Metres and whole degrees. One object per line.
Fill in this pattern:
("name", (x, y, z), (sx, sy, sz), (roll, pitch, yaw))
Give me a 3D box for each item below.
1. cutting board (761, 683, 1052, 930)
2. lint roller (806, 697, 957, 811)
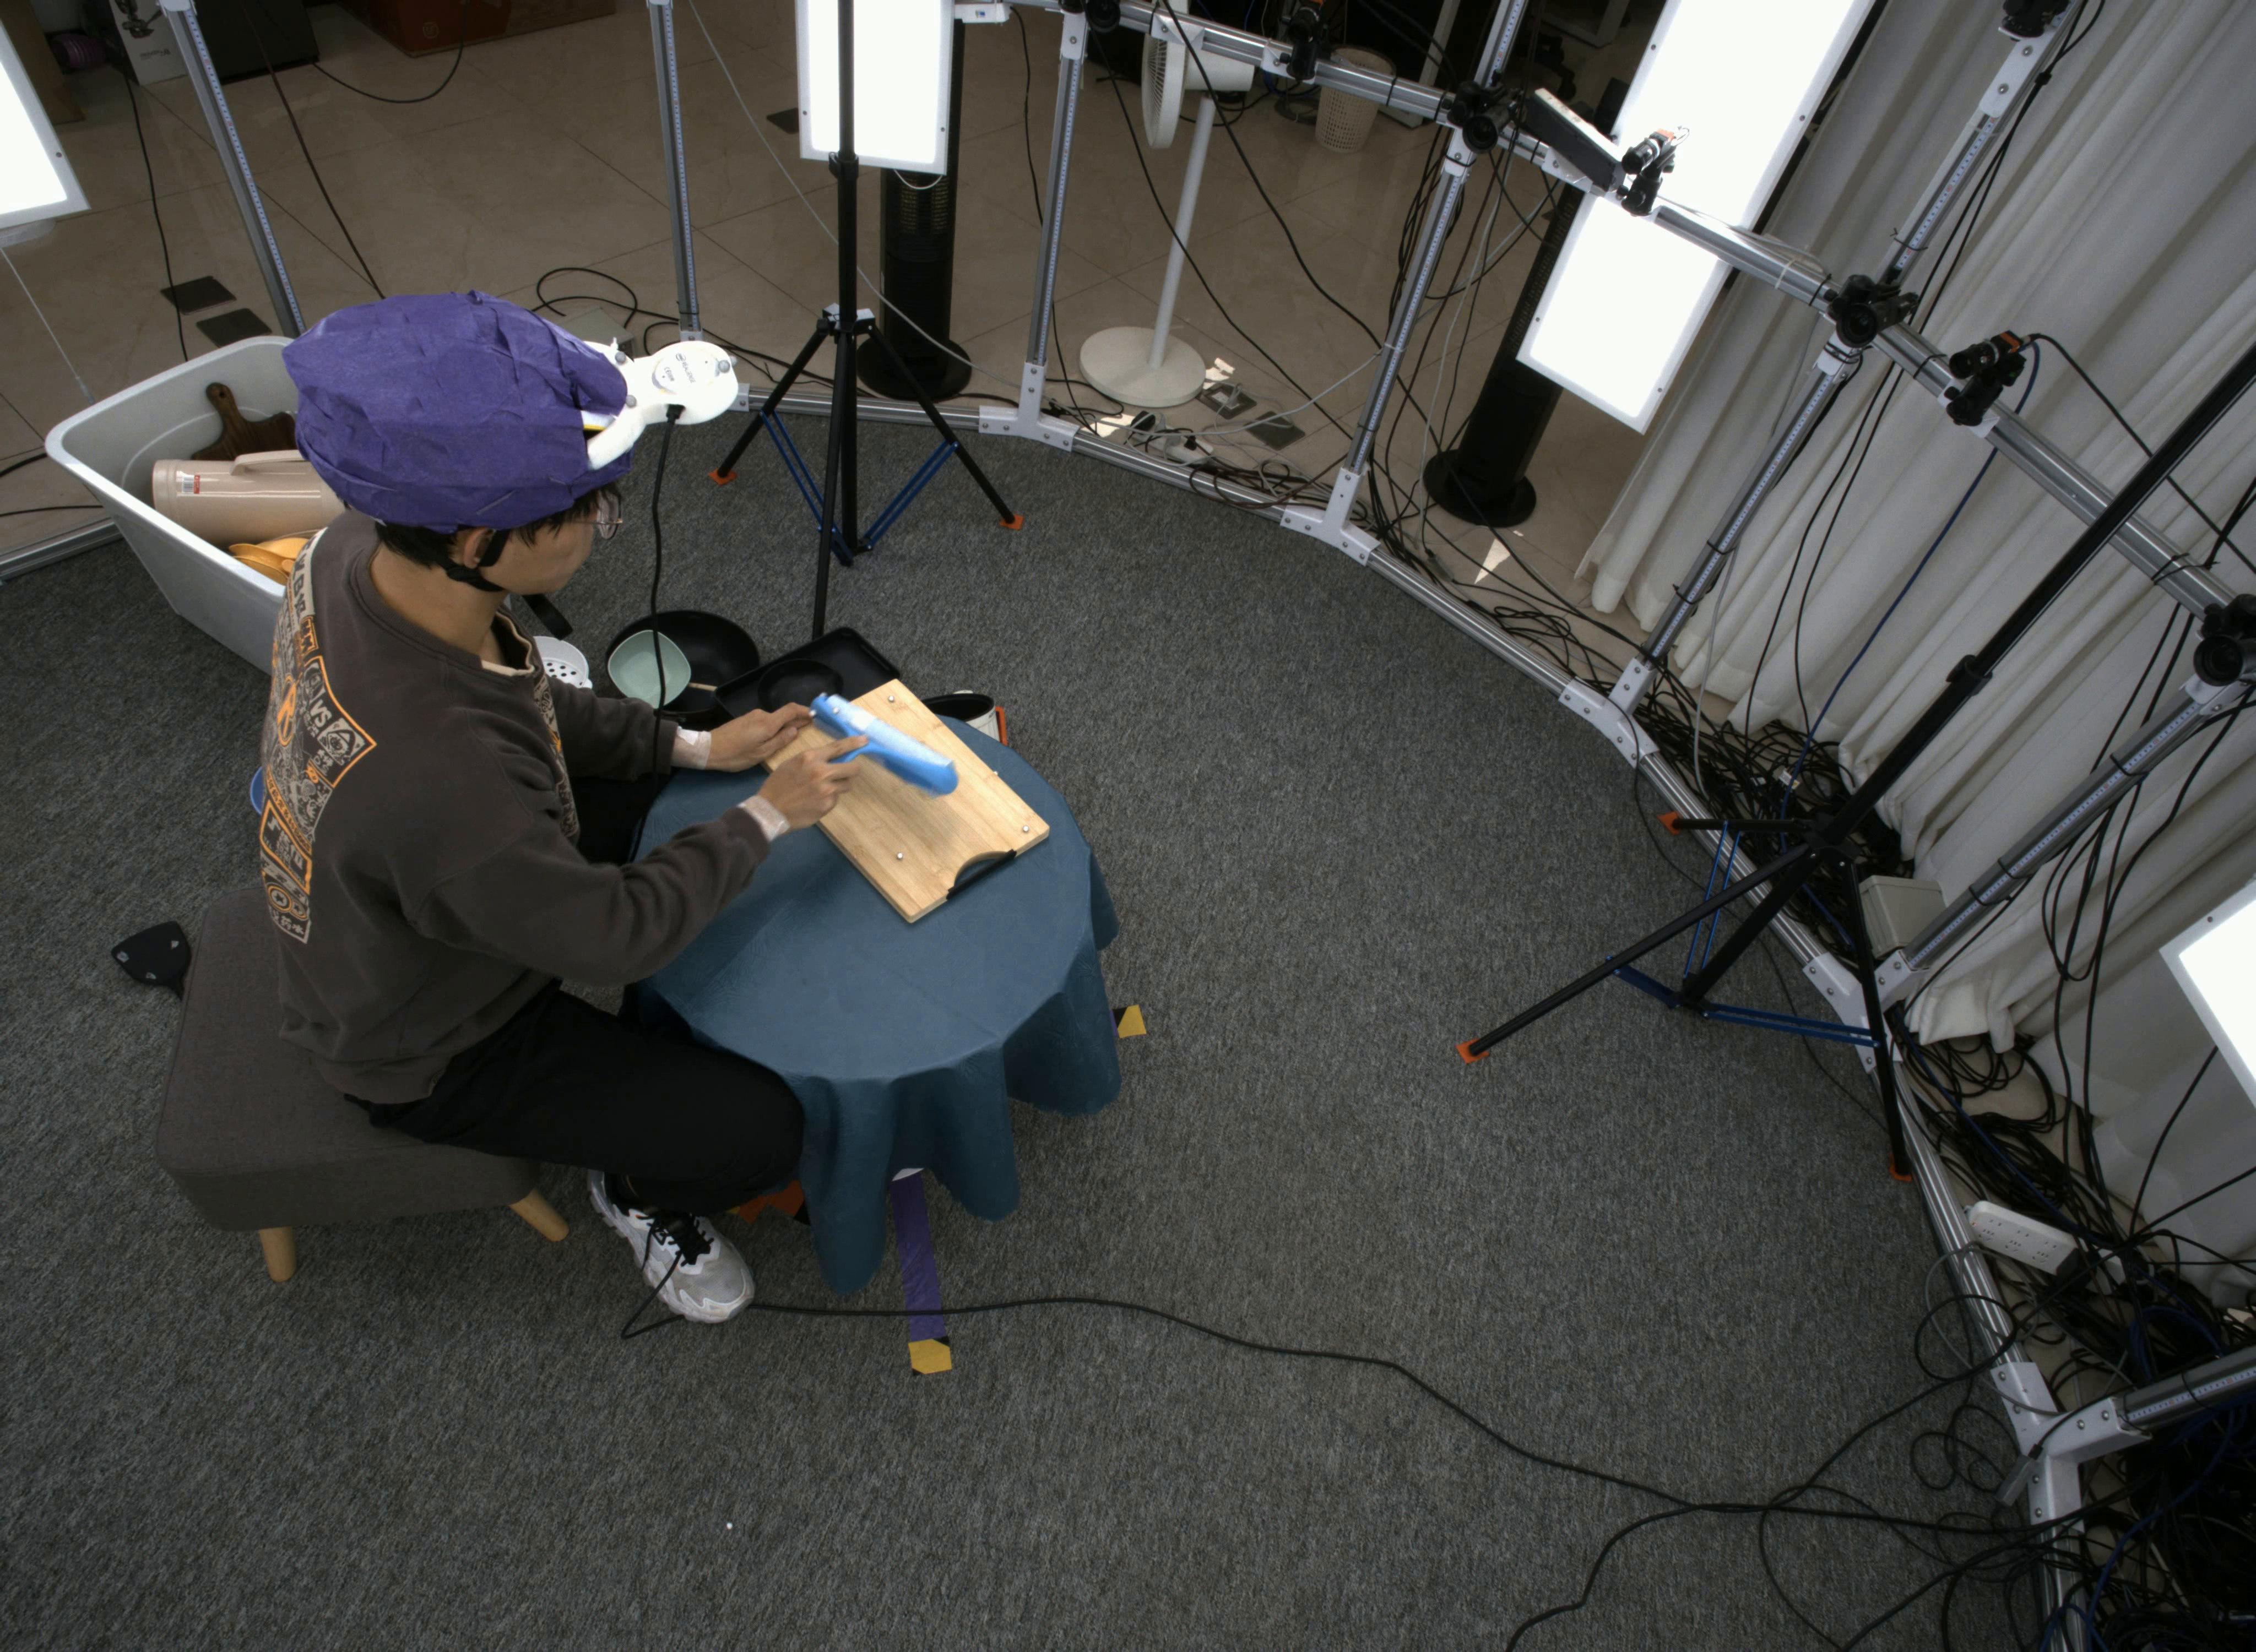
("cutting board", (-0.305, -0.039, 1.786), (0.341, 0.024, 0.251), (43, 57, 18))
("lint roller", (-0.348, -0.082, 1.670), (0.225, 0.069, 0.180), (29, 33, 7))
